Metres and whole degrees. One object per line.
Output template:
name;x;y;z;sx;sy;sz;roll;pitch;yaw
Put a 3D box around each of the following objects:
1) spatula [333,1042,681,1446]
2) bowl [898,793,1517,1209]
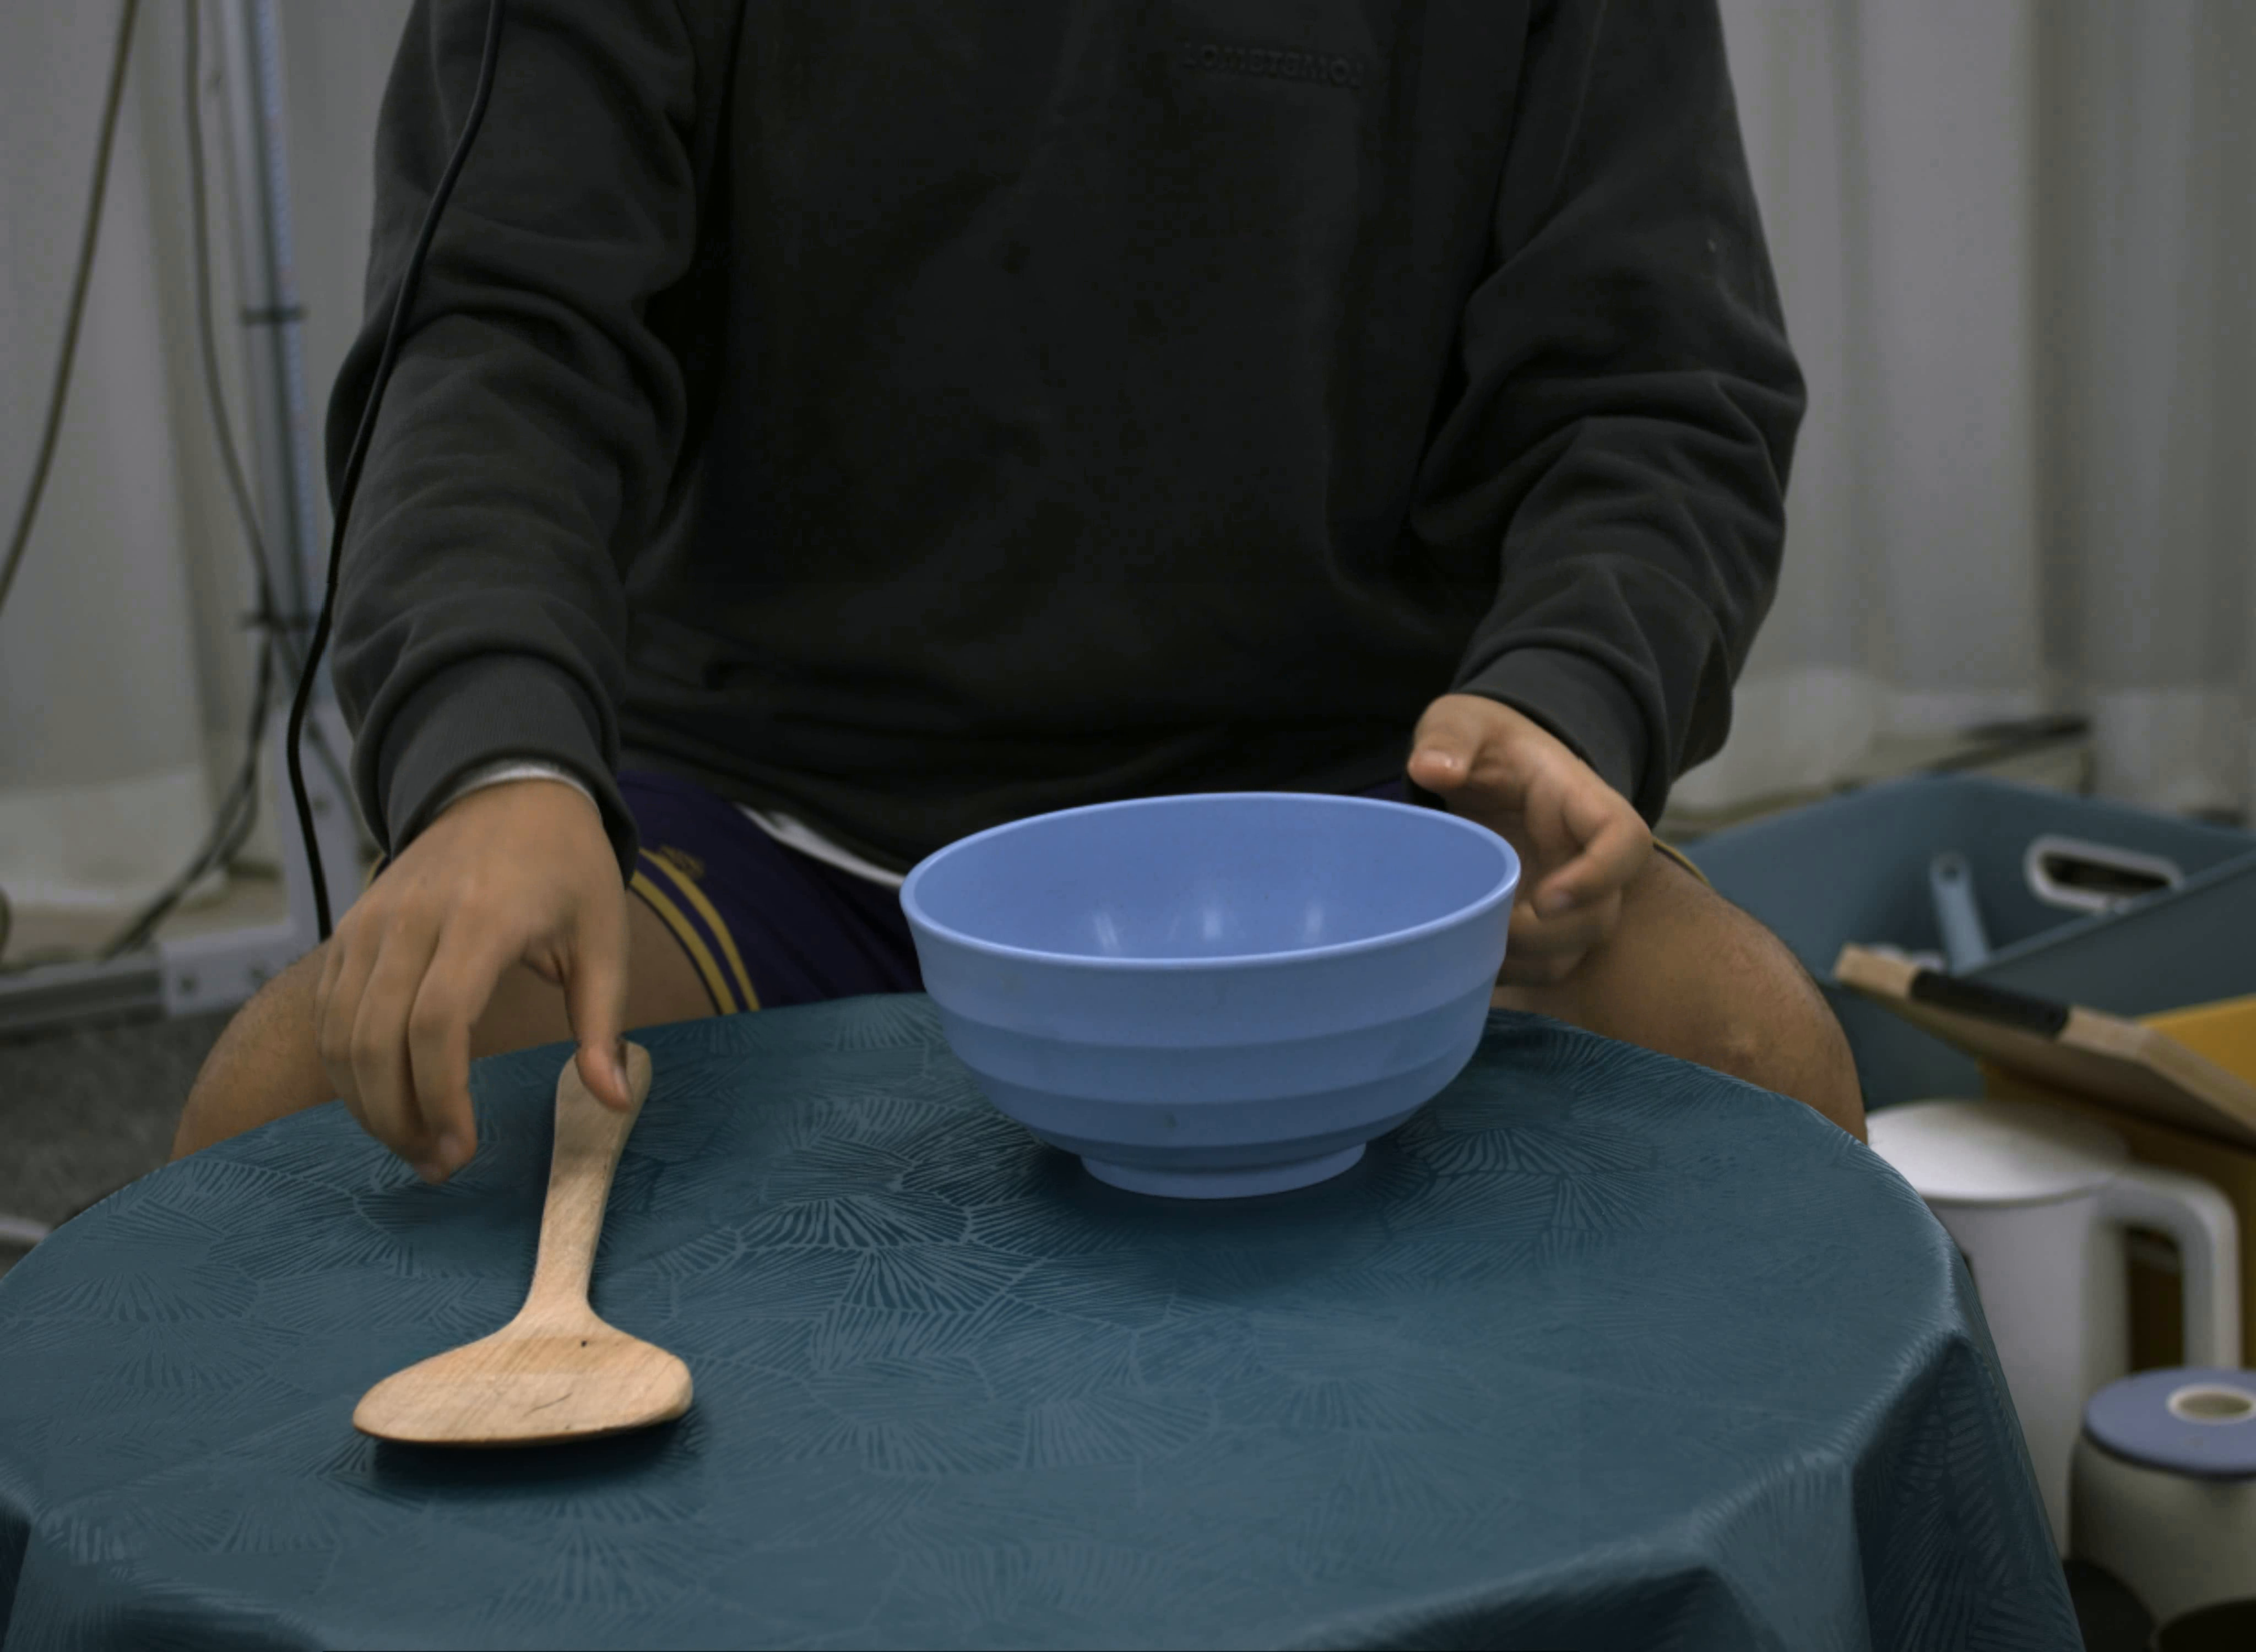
spatula;-0.178;0.124;1.685;0.095;0.018;0.393;-1;15;-1
bowl;0.029;0.061;1.737;0.196;0.095;0.198;-5;16;1
